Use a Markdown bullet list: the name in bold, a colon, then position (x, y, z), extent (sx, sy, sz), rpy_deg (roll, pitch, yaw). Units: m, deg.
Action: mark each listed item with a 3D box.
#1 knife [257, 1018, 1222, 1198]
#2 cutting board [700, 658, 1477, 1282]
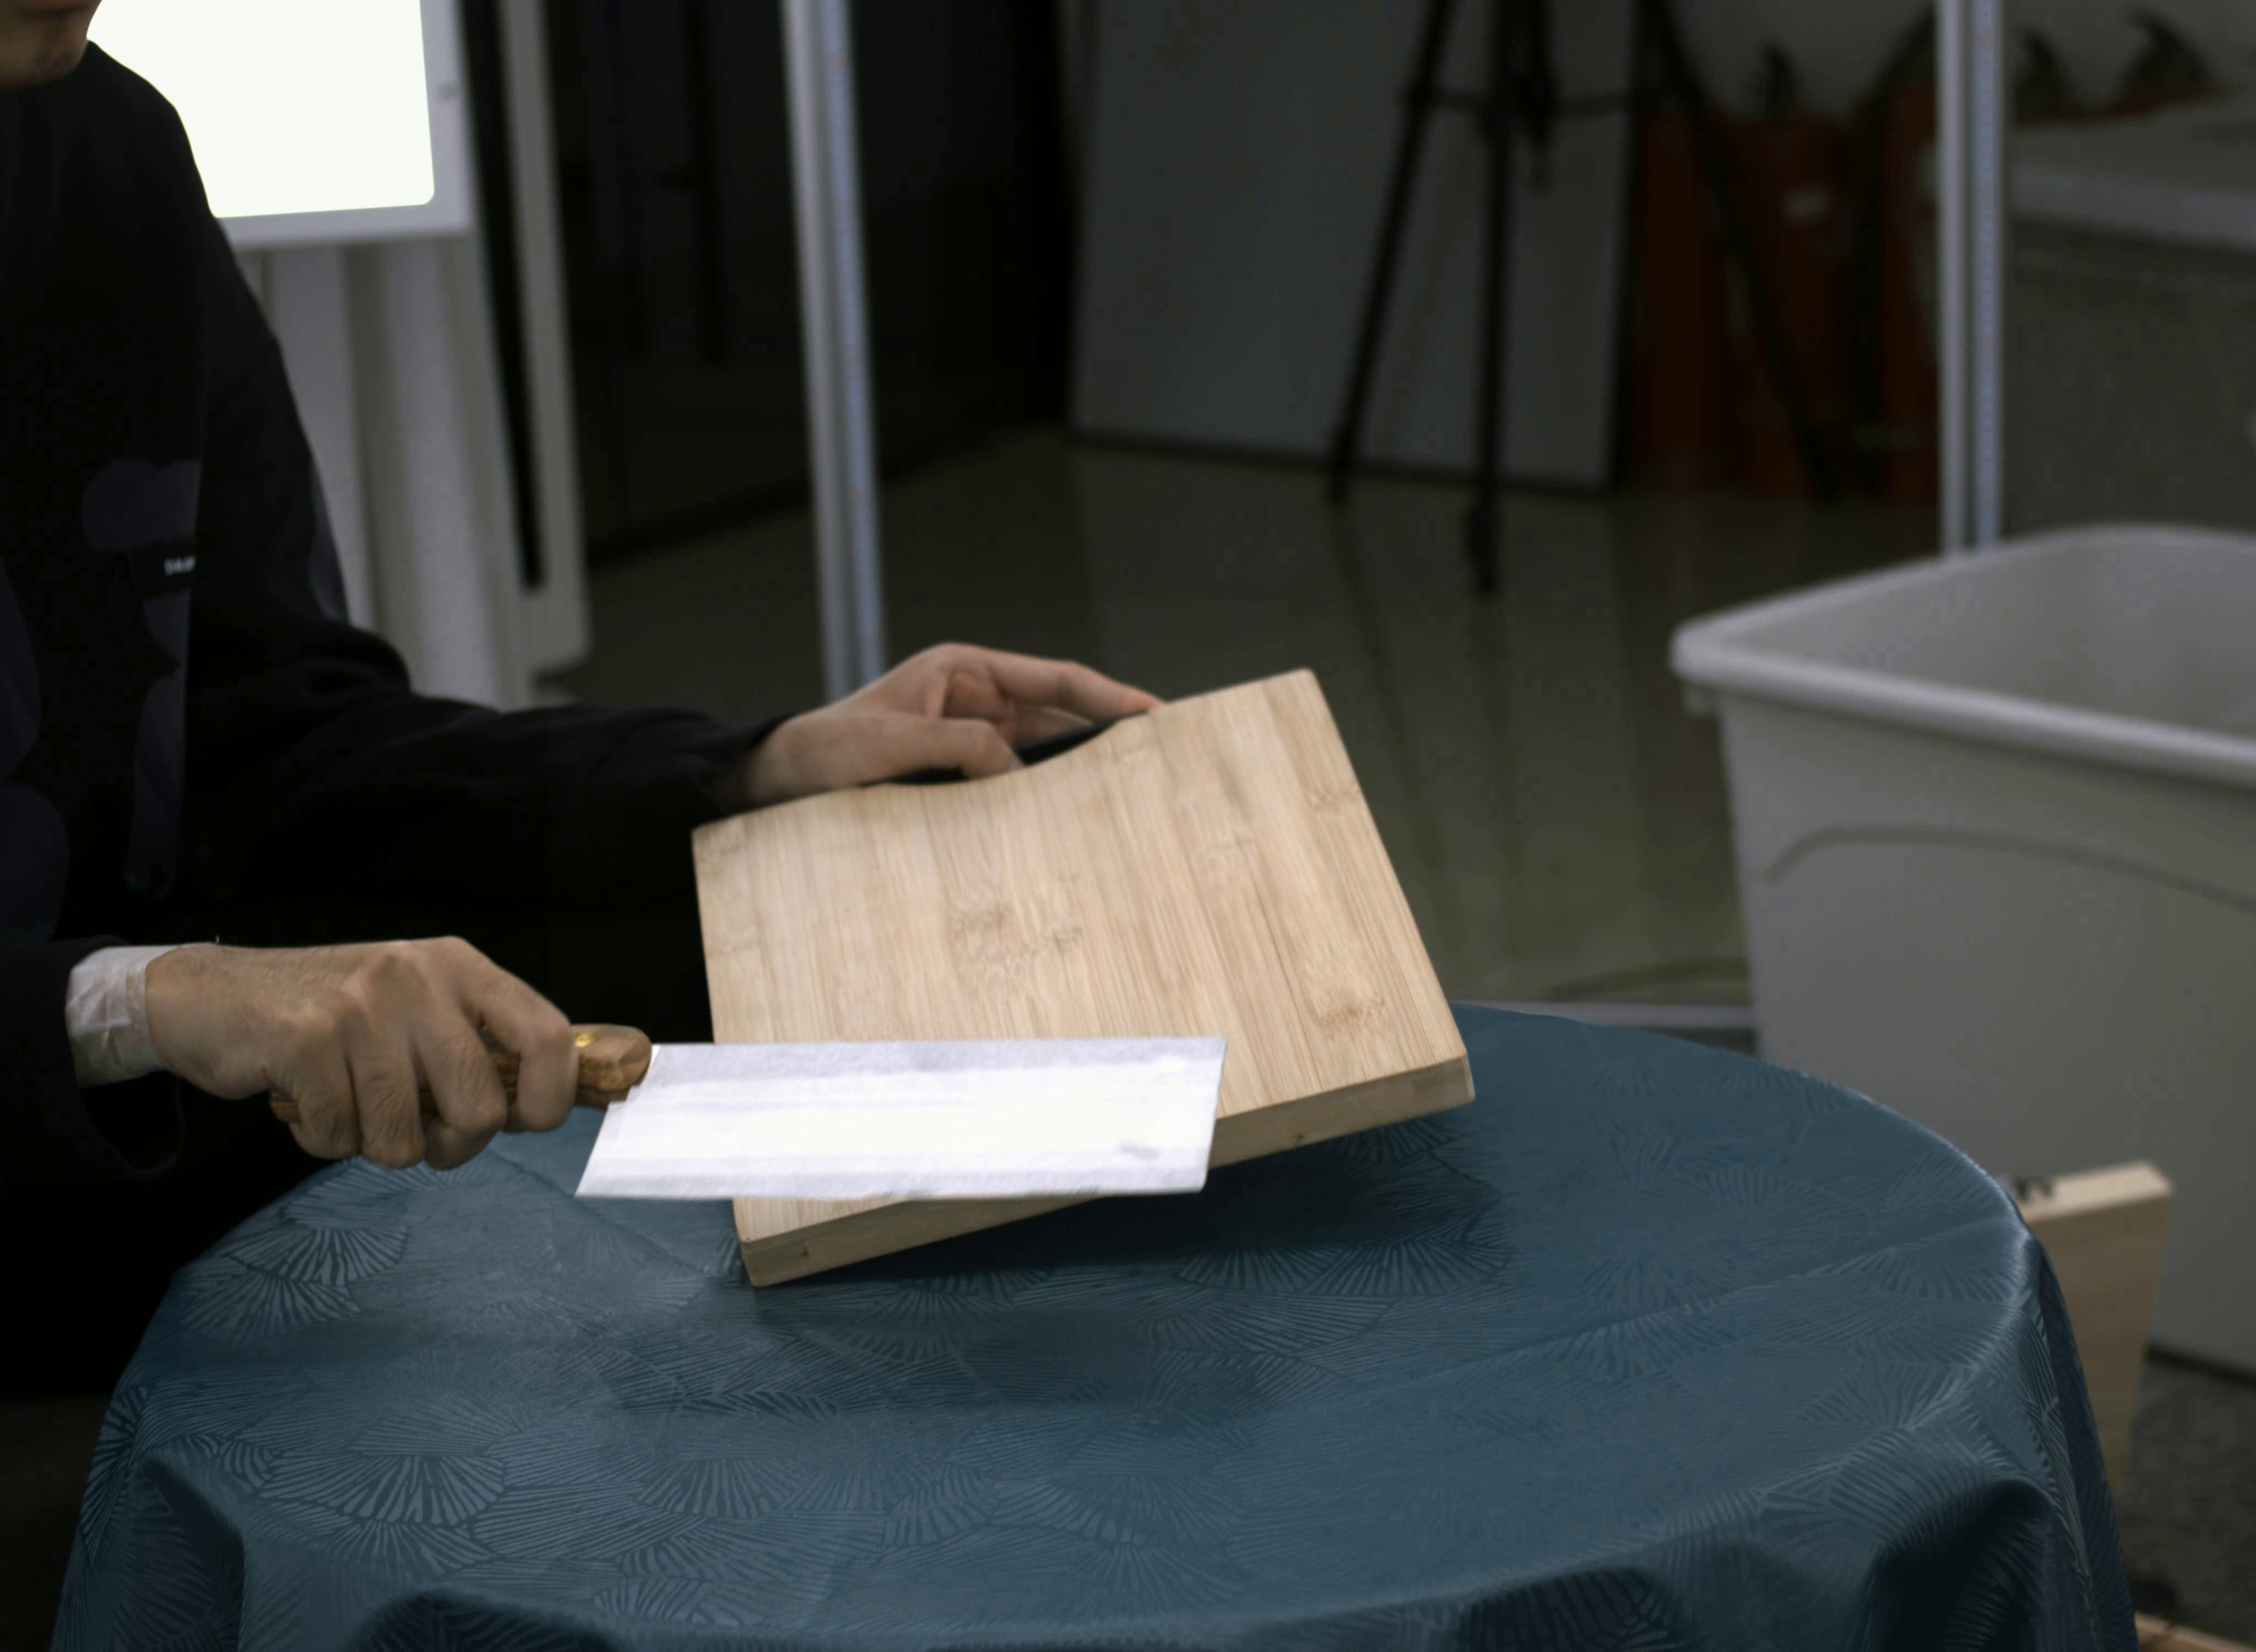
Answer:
- **knife**: position (-0.121, 0.086, 1.633), extent (0.303, 0.021, 0.093), rpy_deg (-2, 27, 8)
- **cutting board**: position (-0.024, 0.043, 1.857), extent (0.248, 0.024, 0.351), rpy_deg (-16, 23, -1)
